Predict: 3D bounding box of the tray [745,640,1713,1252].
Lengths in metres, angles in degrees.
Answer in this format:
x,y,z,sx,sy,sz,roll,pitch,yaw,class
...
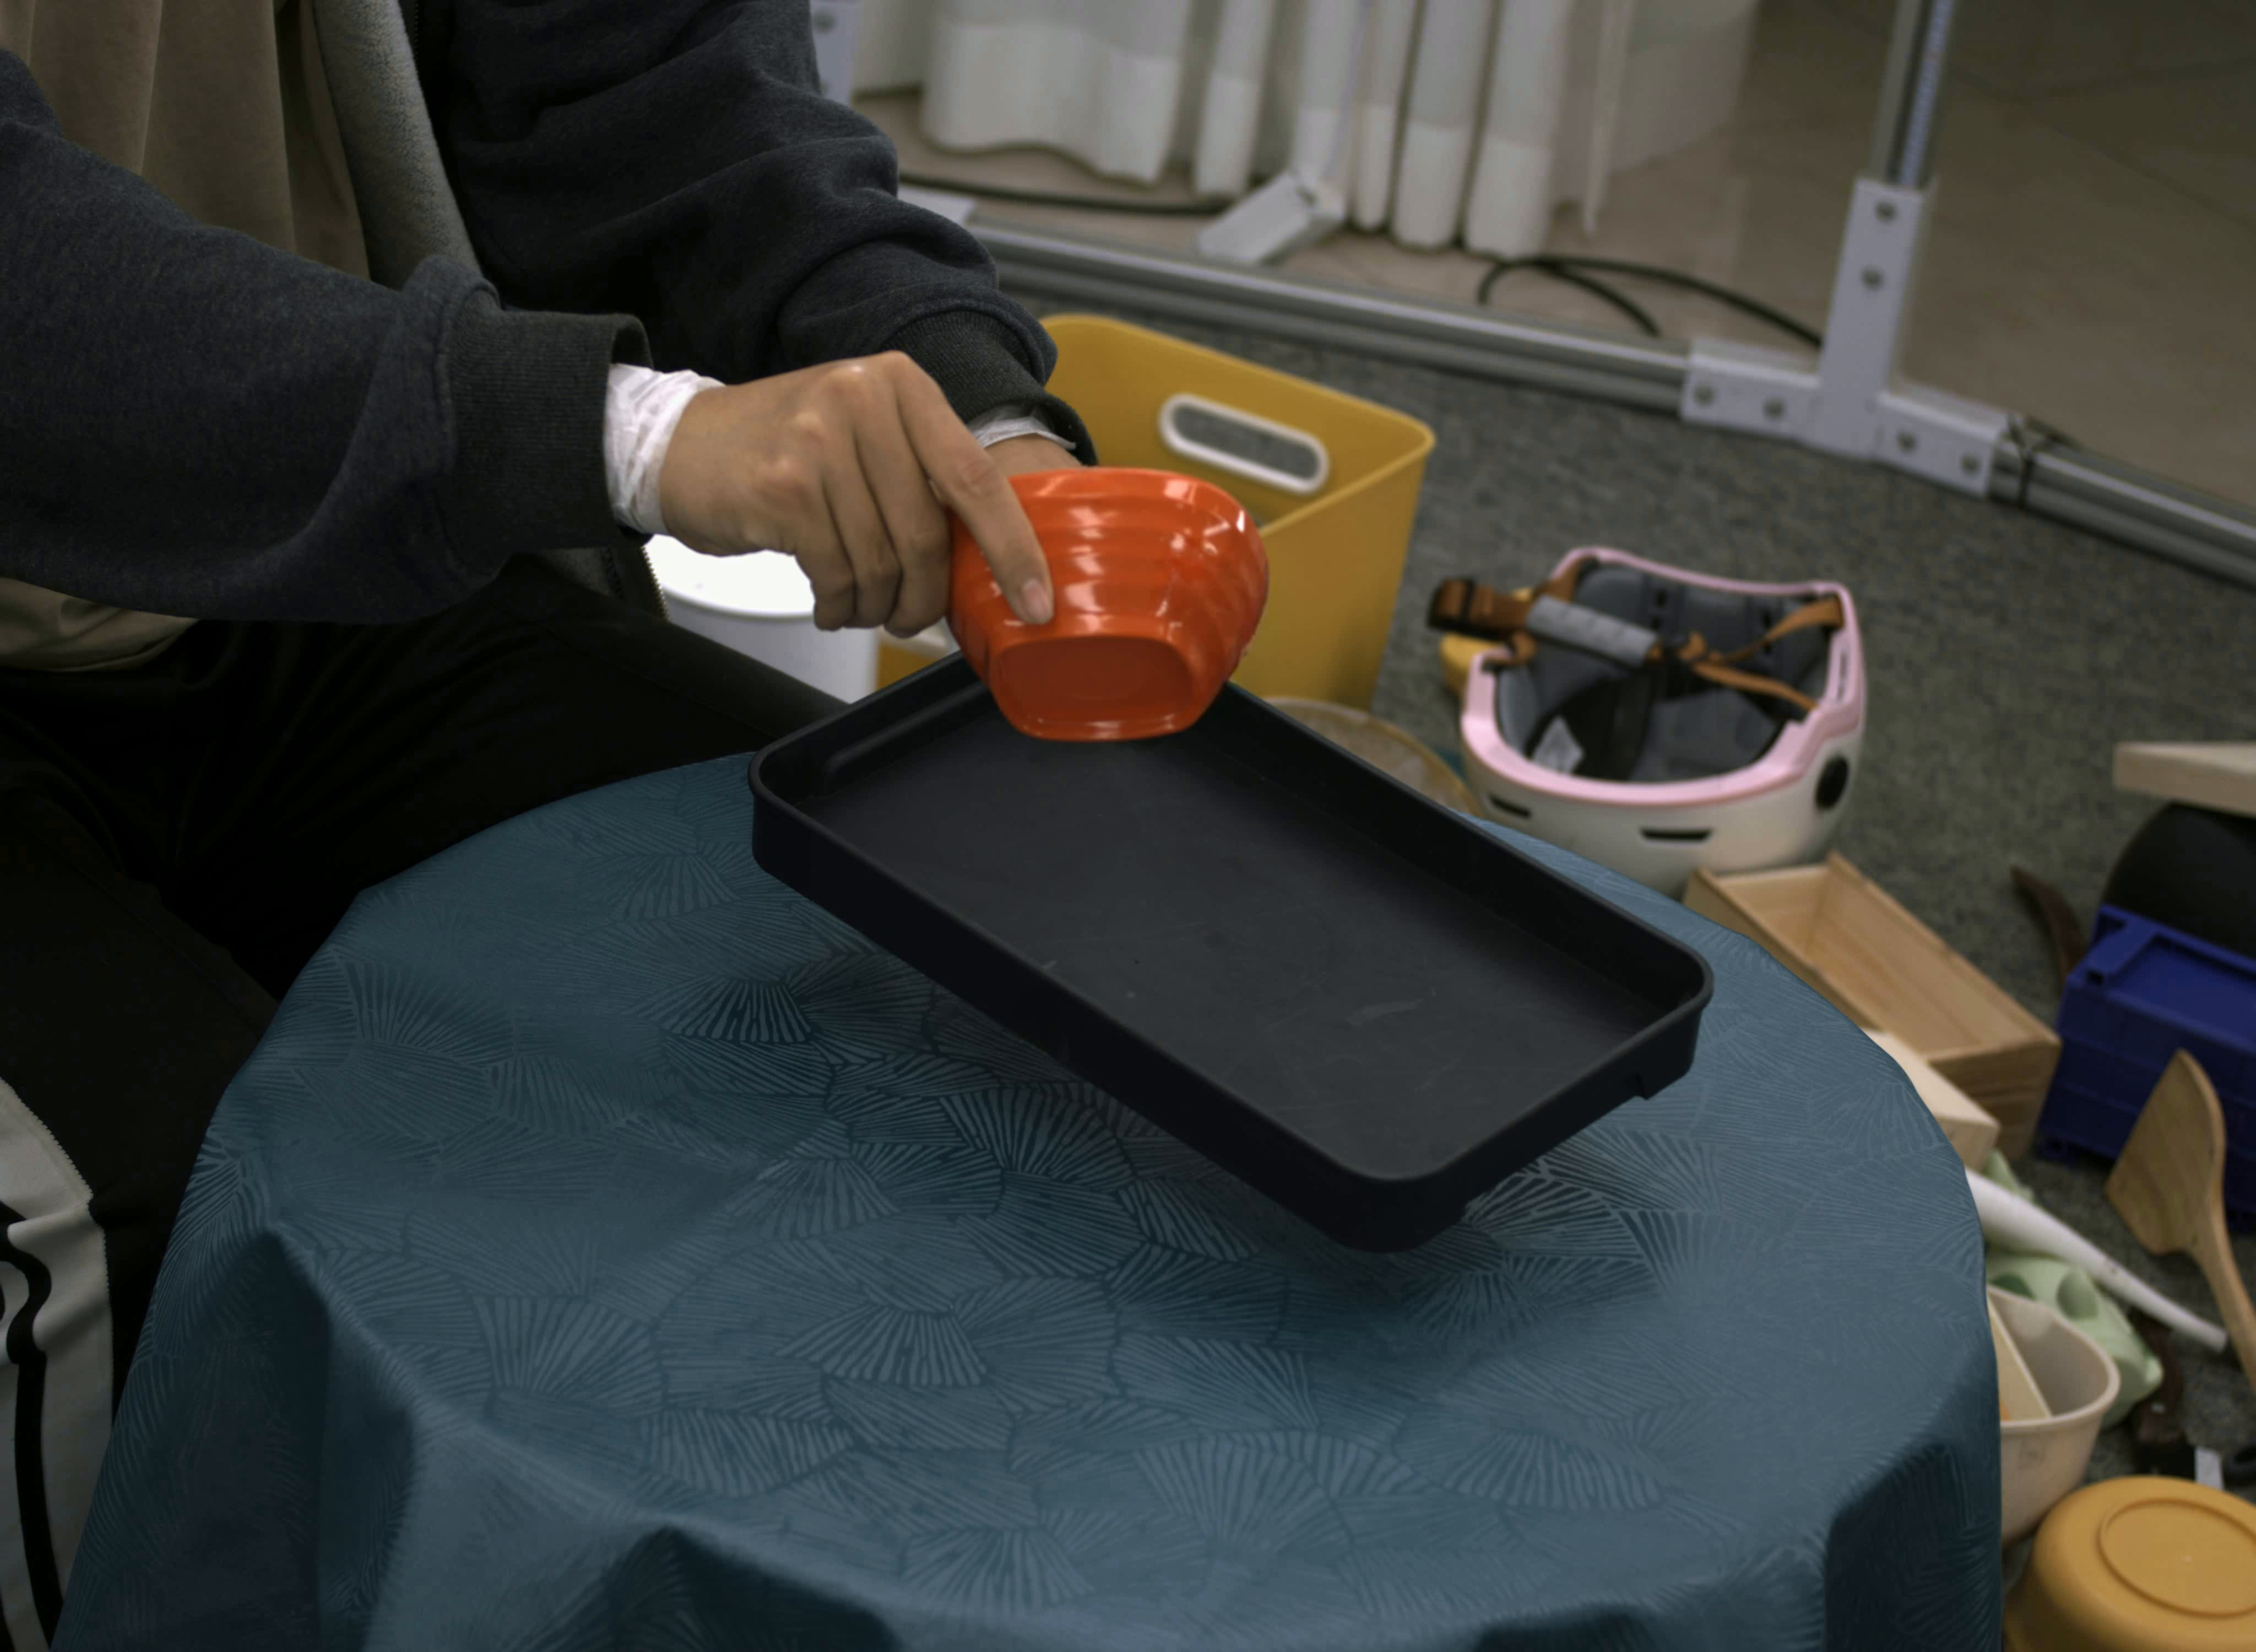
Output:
x,y,z,sx,sy,sz,roll,pitch,yaw,class
0.031,0.028,1.852,0.320,0.037,0.183,32,43,33,tray

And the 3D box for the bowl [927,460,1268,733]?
x,y,z,sx,sy,sz,roll,pitch,yaw,class
-0.011,-0.068,1.713,0.118,0.118,0.052,5,63,-4,bowl
